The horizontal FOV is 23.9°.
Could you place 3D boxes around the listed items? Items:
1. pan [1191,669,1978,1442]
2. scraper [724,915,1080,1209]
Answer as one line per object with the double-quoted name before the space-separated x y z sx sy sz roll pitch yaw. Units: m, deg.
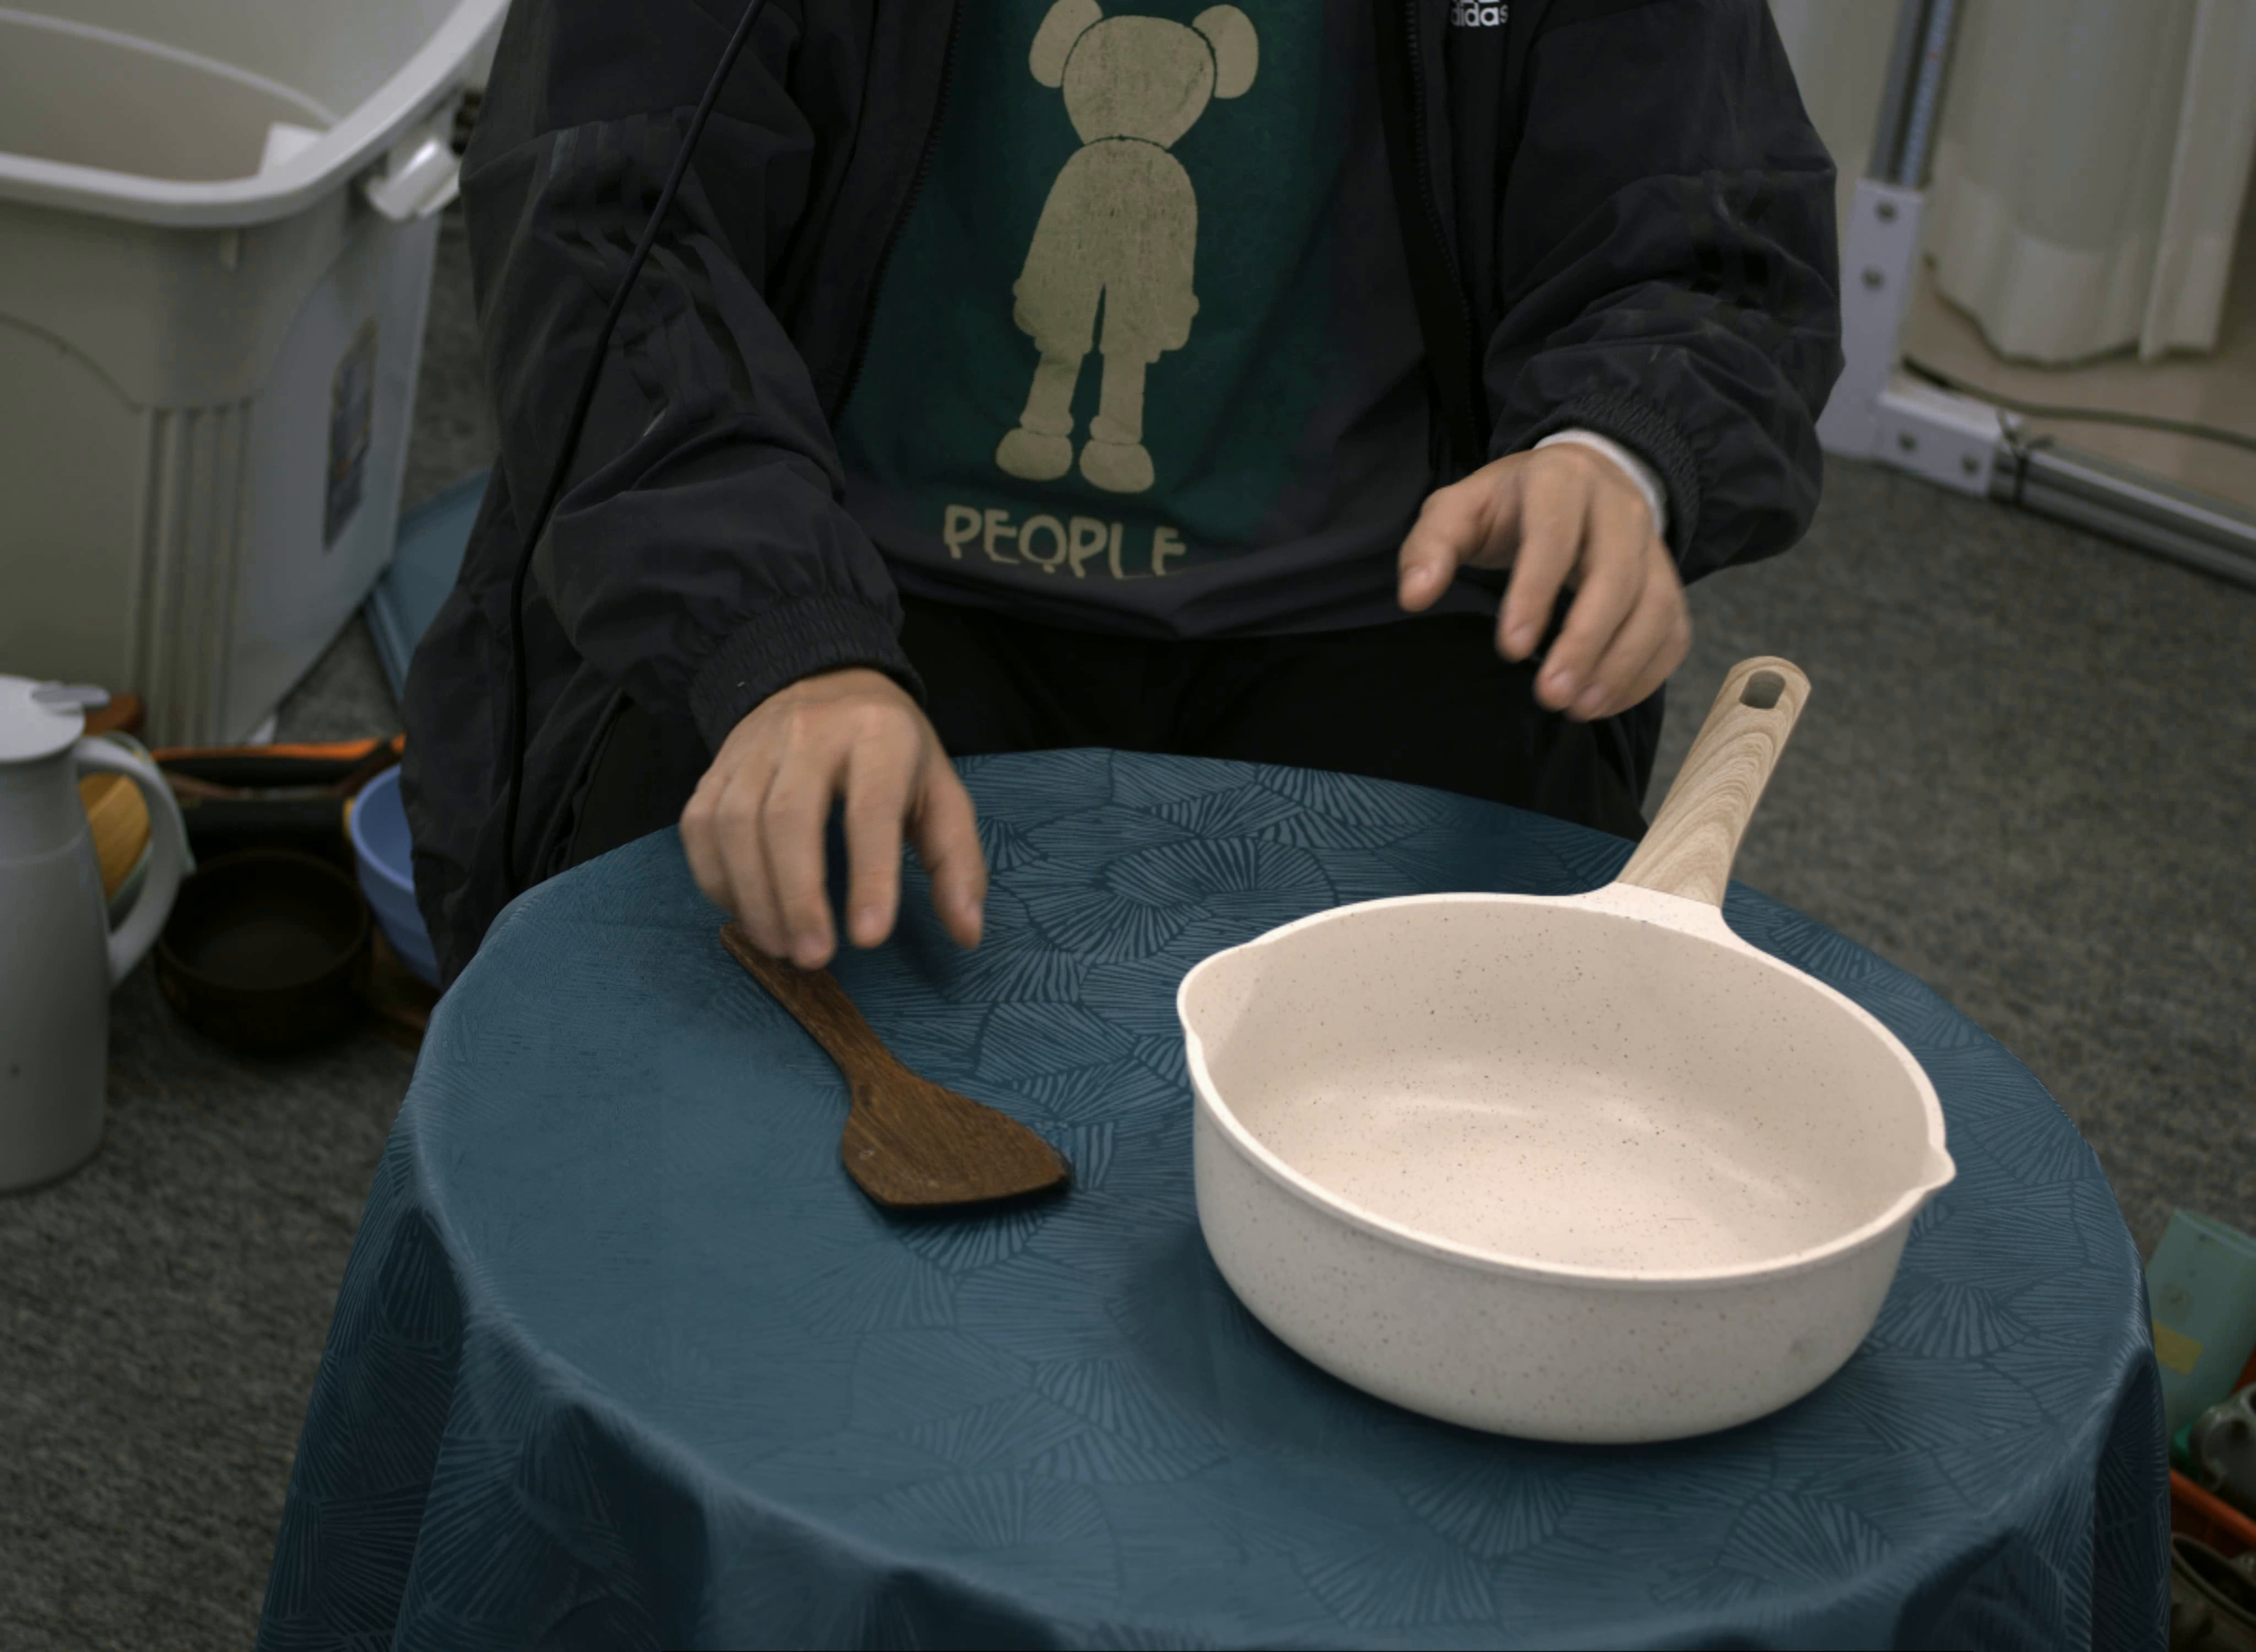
"pan" 0.174 0.073 1.835 0.264 0.101 0.435 12 27 14
"scraper" -0.091 0.081 1.860 0.075 0.011 0.213 -6 29 -26
